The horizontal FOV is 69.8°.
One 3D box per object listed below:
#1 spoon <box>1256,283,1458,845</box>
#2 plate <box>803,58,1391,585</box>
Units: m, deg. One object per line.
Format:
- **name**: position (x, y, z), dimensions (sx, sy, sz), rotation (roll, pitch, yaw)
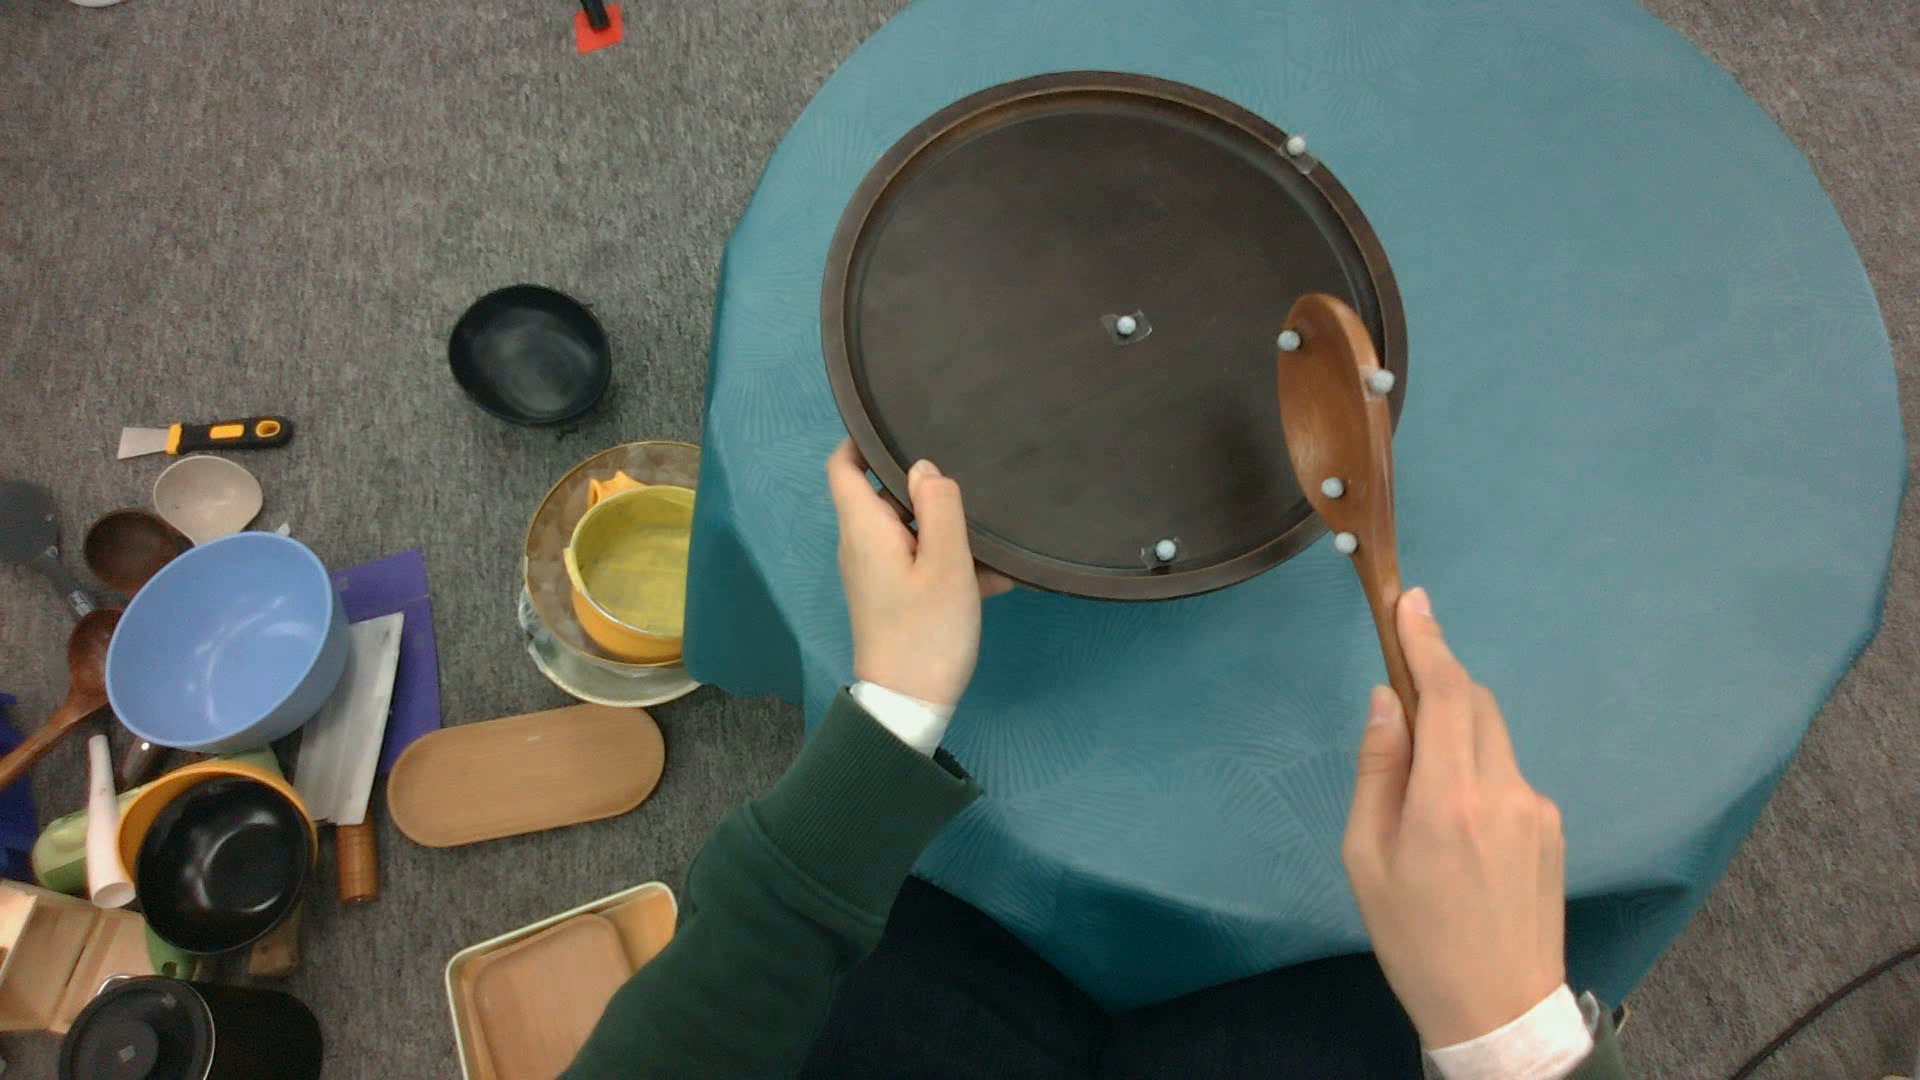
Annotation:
- **spoon**: position (0.147, 0.004, 0.509), dimensions (0.017, 0.075, 0.216), rotation (-5, 71, -13)
- **plate**: position (0.059, -0.099, 0.596), dimensions (0.255, 0.029, 0.255), rotation (2, 69, -4)
